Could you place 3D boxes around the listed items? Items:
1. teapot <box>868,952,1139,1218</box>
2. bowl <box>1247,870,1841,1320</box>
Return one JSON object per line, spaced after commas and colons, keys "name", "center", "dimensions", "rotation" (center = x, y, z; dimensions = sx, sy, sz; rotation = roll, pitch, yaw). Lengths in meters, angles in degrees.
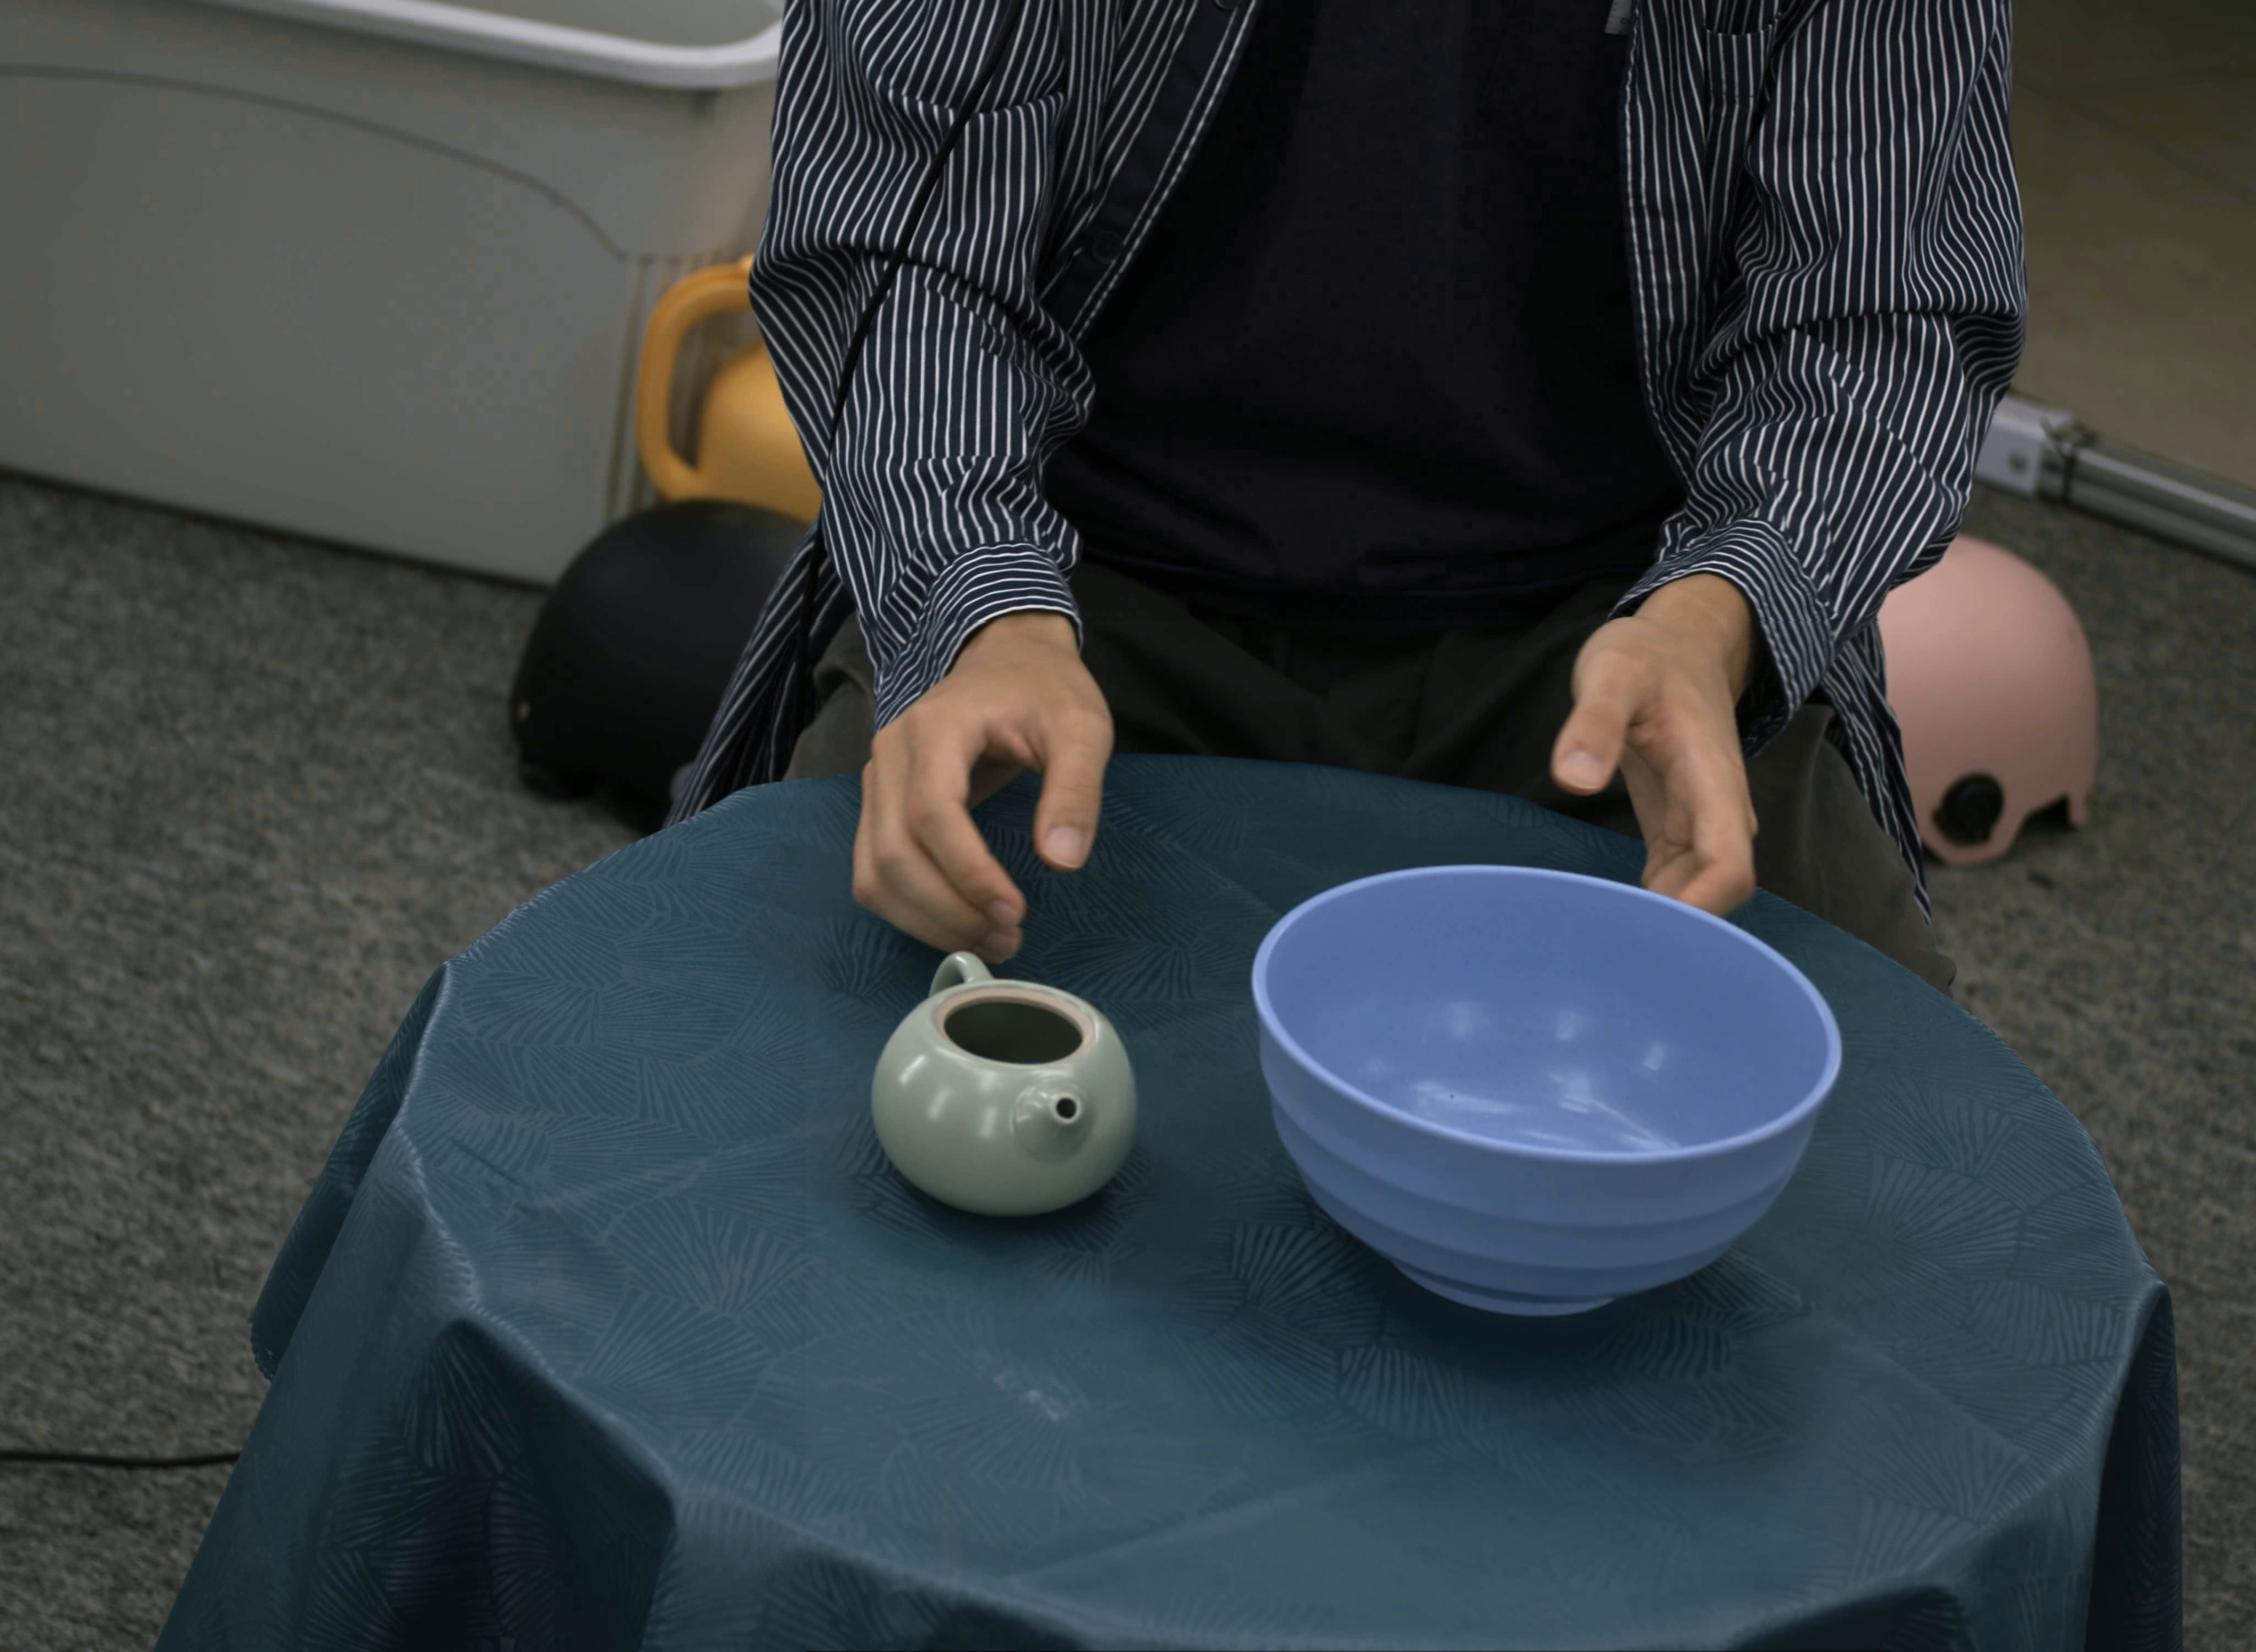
{"name": "teapot", "center": [-0.044, 0.088, 1.795], "dimensions": [0.091, 0.061, 0.129], "rotation": [-4, 27, -15]}
{"name": "bowl", "center": [0.133, 0.100, 1.772], "dimensions": [0.196, 0.095, 0.197], "rotation": [4, 27, -2]}
